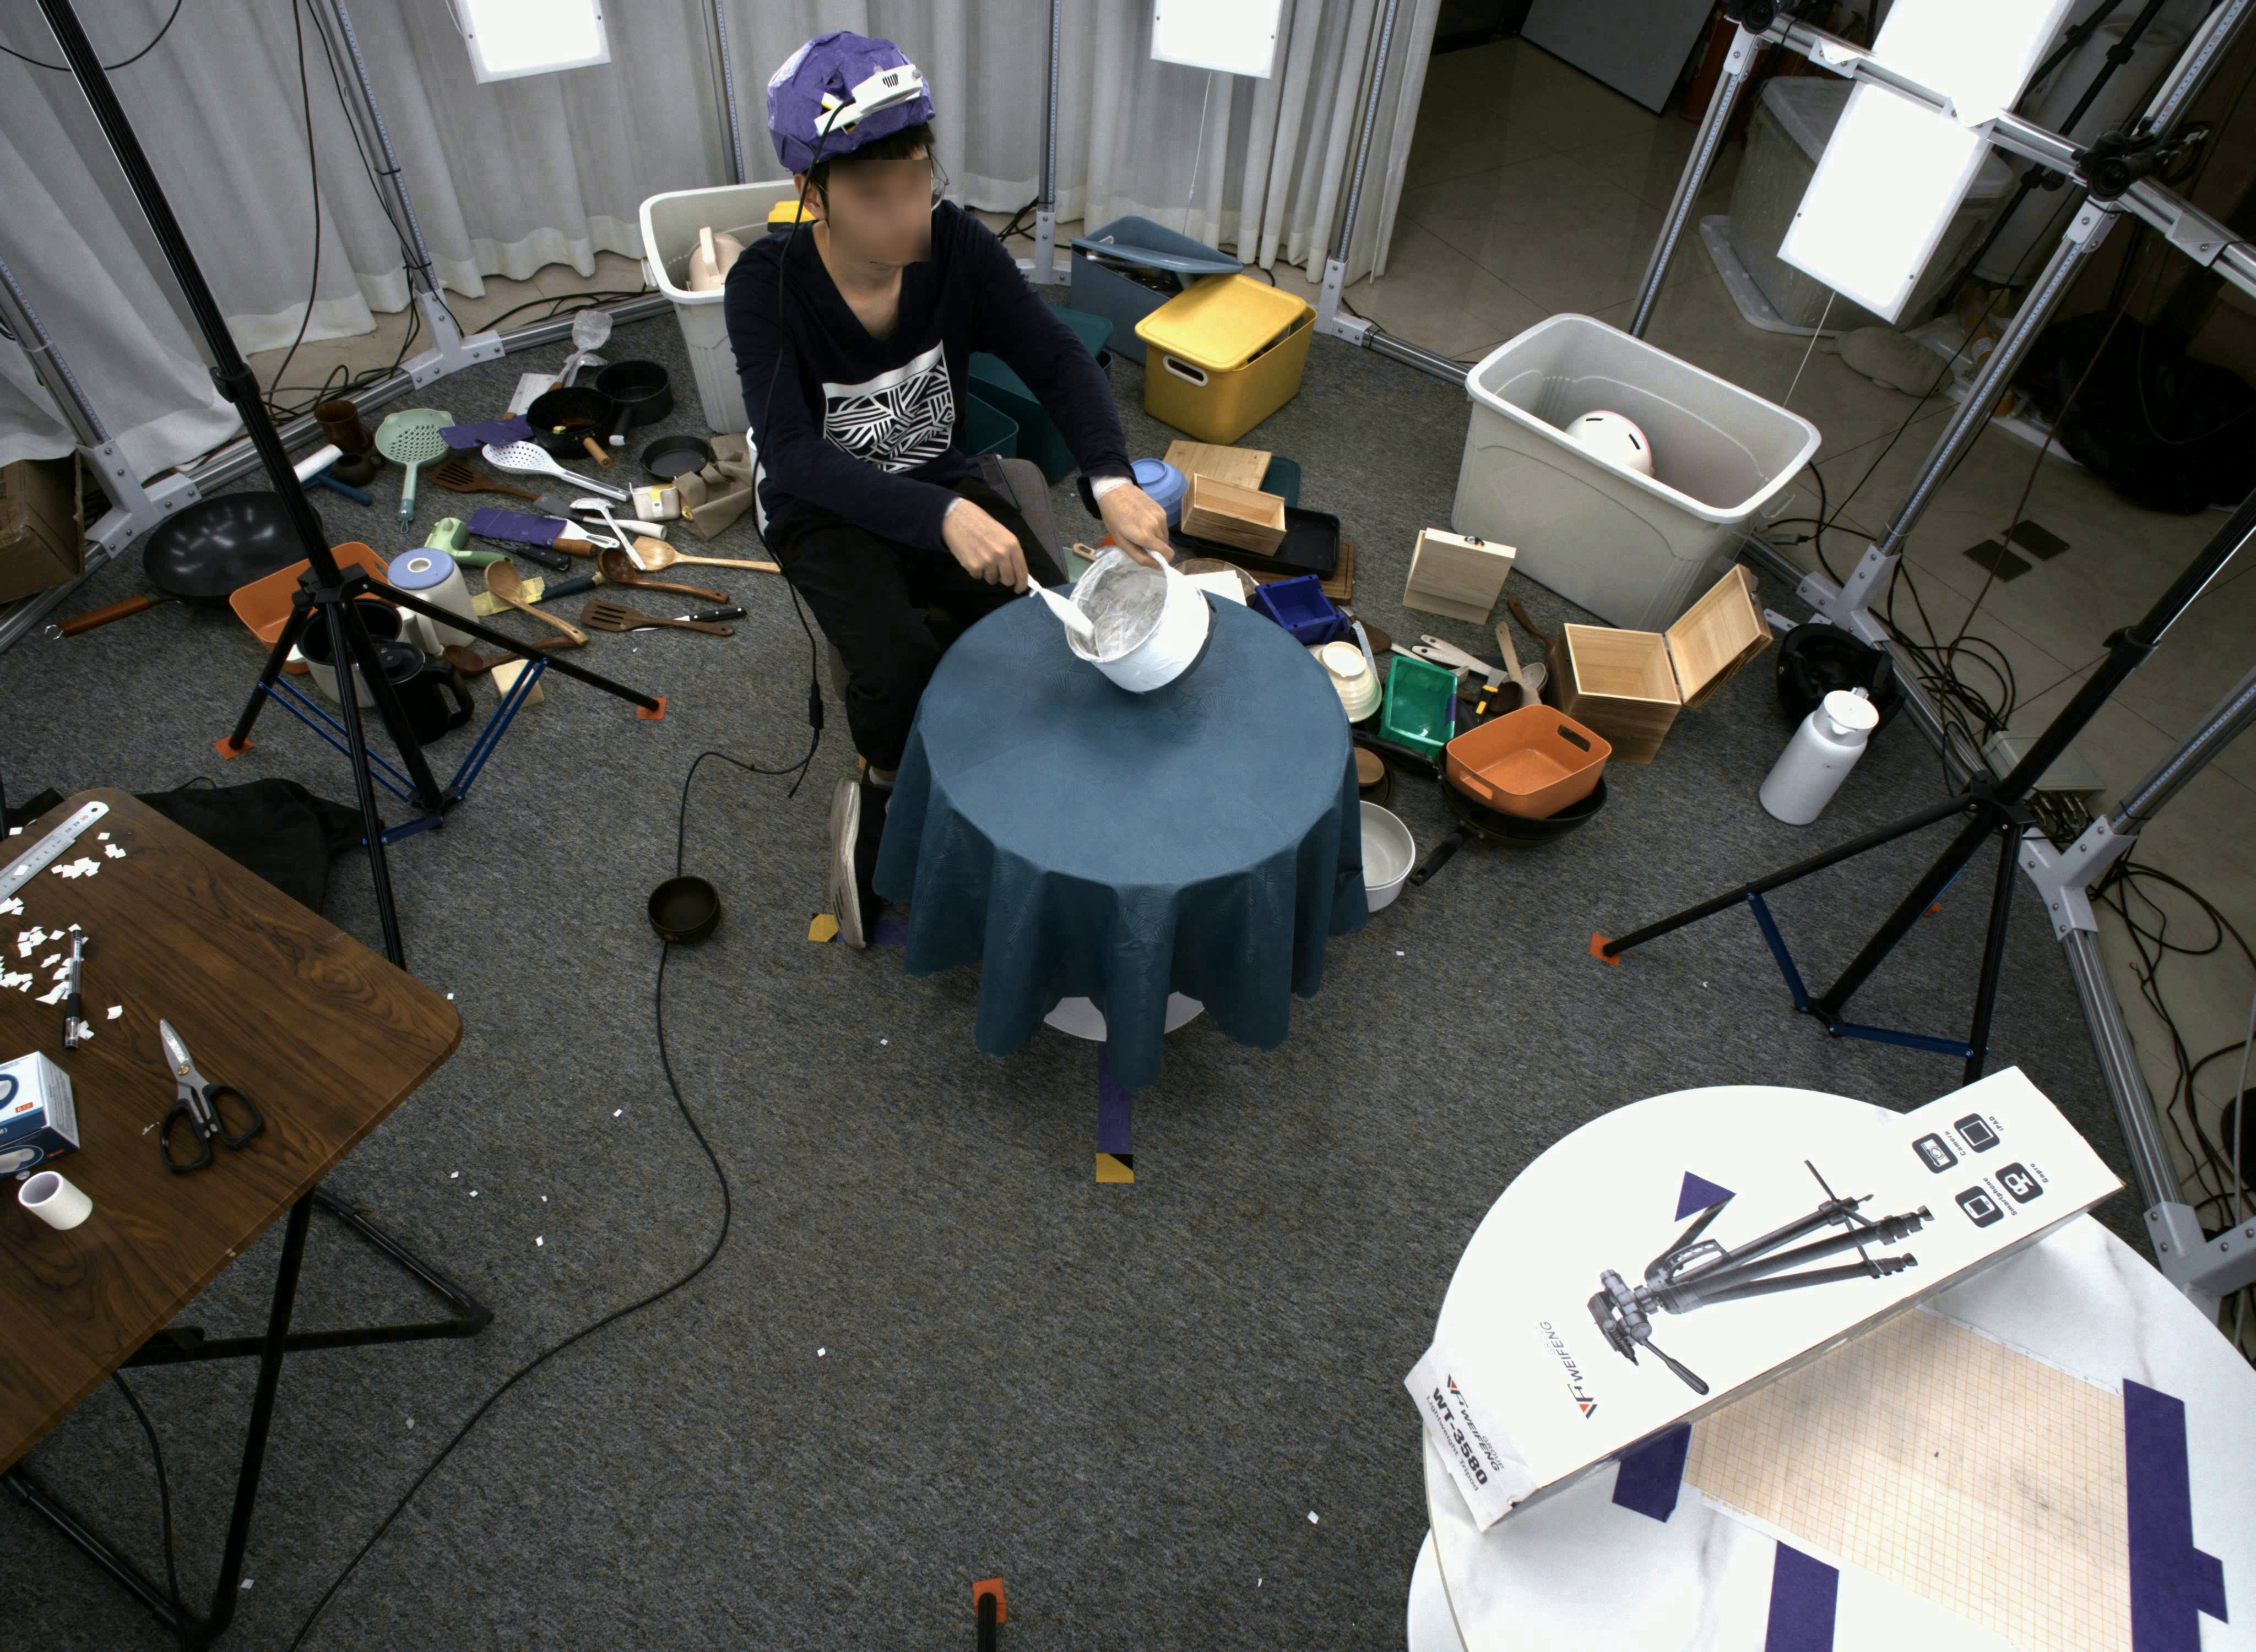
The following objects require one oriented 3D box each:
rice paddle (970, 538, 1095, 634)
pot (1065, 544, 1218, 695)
[{"bbox_3d":[-0.121,-0.319,1.728,0.202,0.029,0.070,31,26,-27],"label":"rice paddle"},{"bbox_3d":[0.012,-0.304,1.803,0.177,0.134,0.239,-32,54,18],"label":"pot"}]
